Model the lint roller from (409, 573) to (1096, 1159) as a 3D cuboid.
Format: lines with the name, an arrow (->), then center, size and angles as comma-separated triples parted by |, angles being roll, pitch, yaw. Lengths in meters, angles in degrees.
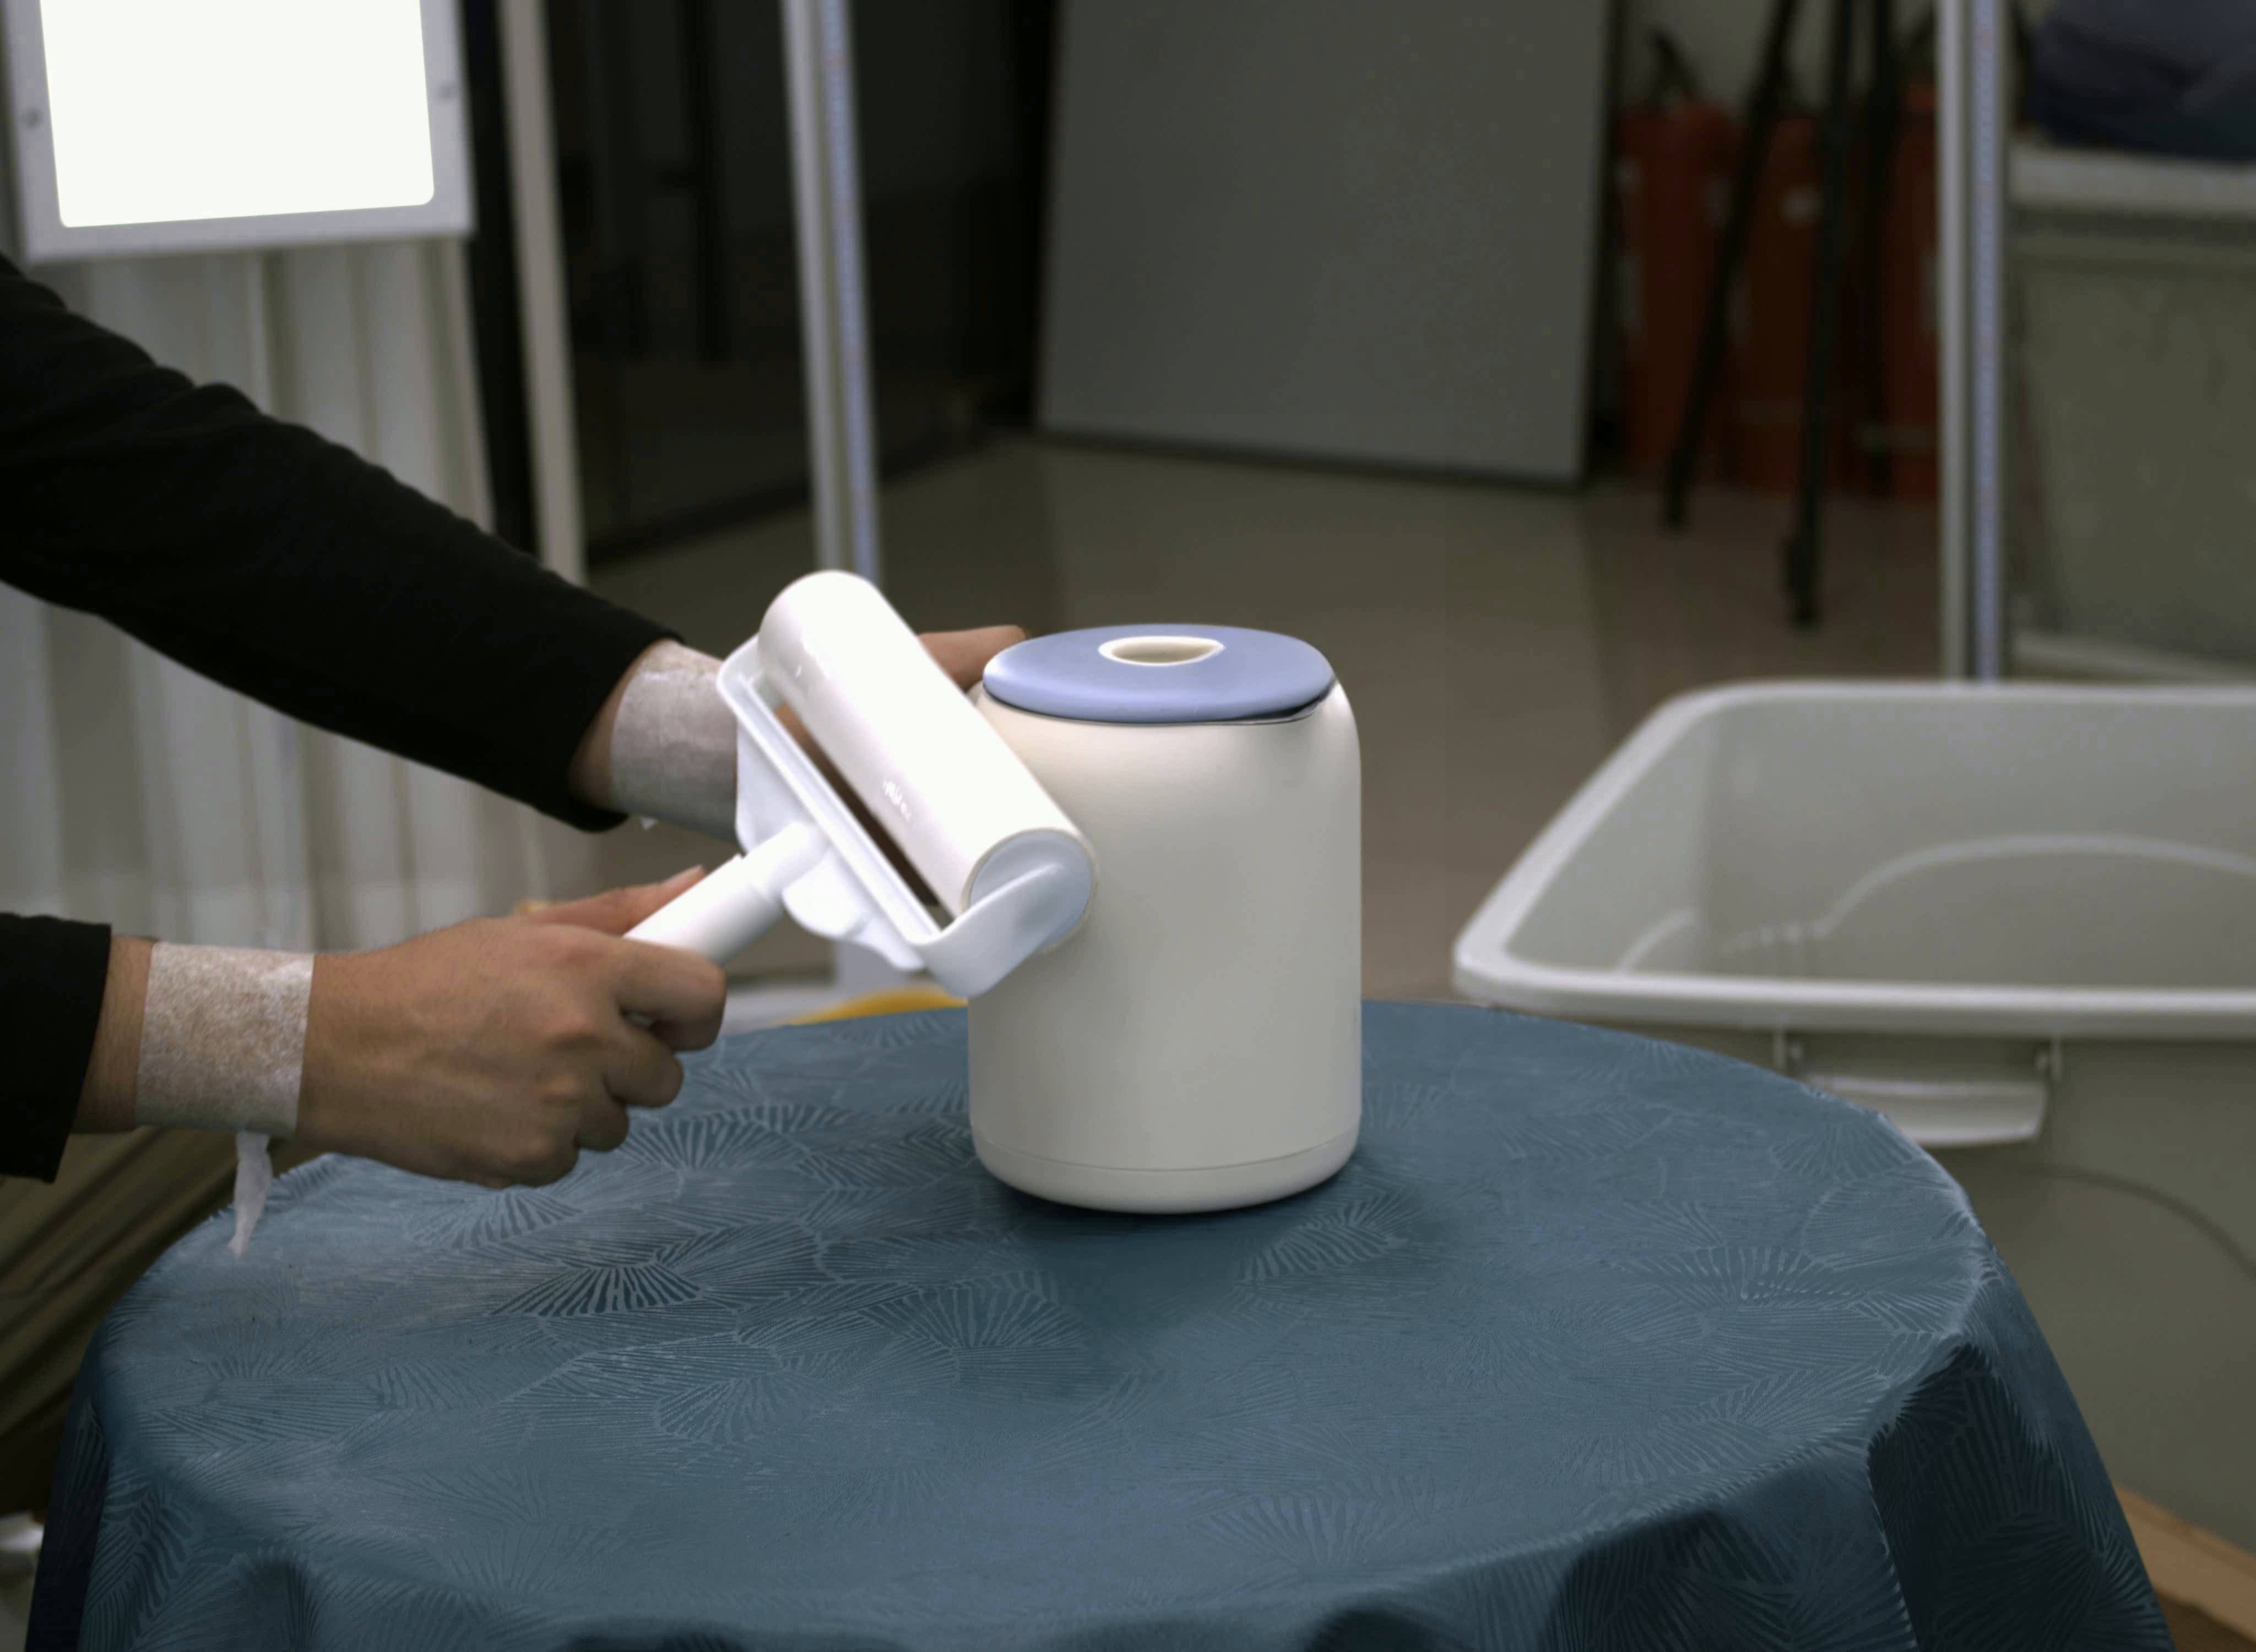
lint roller -> -0.138, 0.027, 1.713 | 0.224, 0.048, 0.205 | -35, 35, -5

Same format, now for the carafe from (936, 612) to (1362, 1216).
carafe -> -0.004, 0.024, 1.790 | 0.129, 0.184, 0.193 | -11, 14, -37
